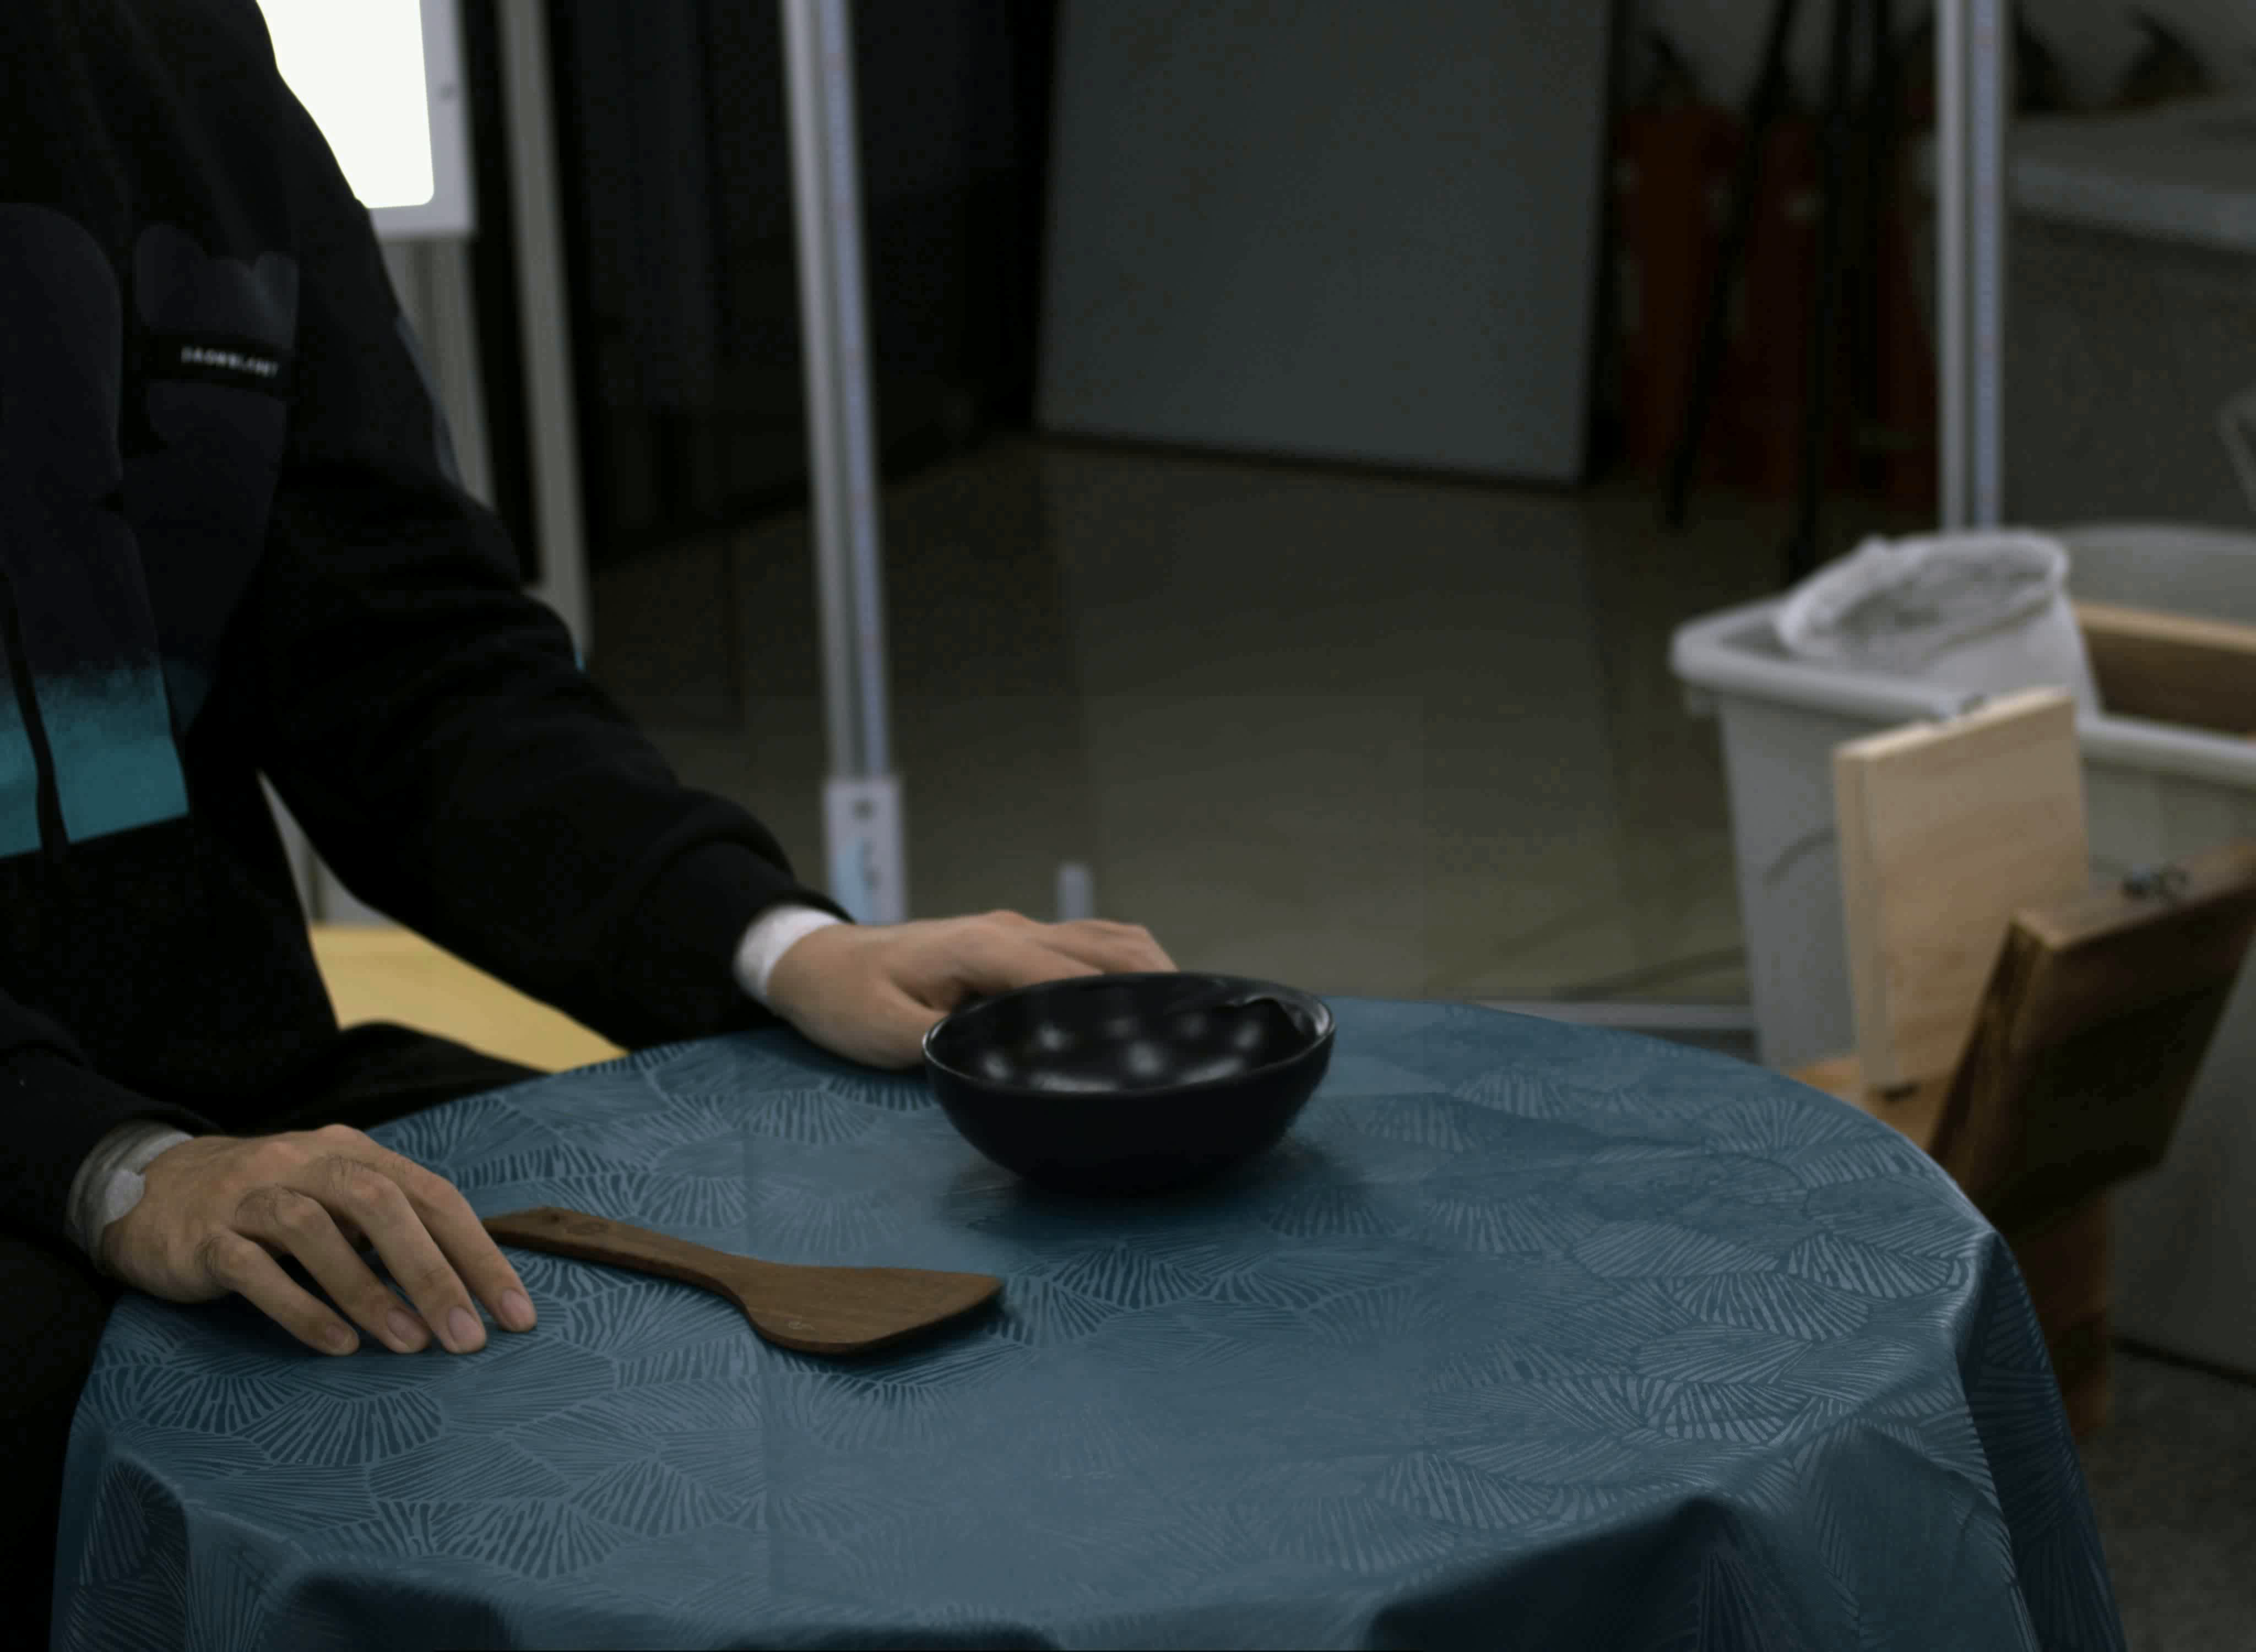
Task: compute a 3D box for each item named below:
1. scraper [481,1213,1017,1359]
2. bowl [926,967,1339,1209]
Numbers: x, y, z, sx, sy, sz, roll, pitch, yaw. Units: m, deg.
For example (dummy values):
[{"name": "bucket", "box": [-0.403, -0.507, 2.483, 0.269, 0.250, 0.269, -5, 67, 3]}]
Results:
[{"name": "scraper", "box": [-0.128, 0.143, 1.708, 0.213, 0.011, 0.074, 8, 17, 43]}, {"name": "bowl", "box": [0.004, 0.092, 1.790, 0.138, 0.050, 0.140, -6, 16, 1]}]
